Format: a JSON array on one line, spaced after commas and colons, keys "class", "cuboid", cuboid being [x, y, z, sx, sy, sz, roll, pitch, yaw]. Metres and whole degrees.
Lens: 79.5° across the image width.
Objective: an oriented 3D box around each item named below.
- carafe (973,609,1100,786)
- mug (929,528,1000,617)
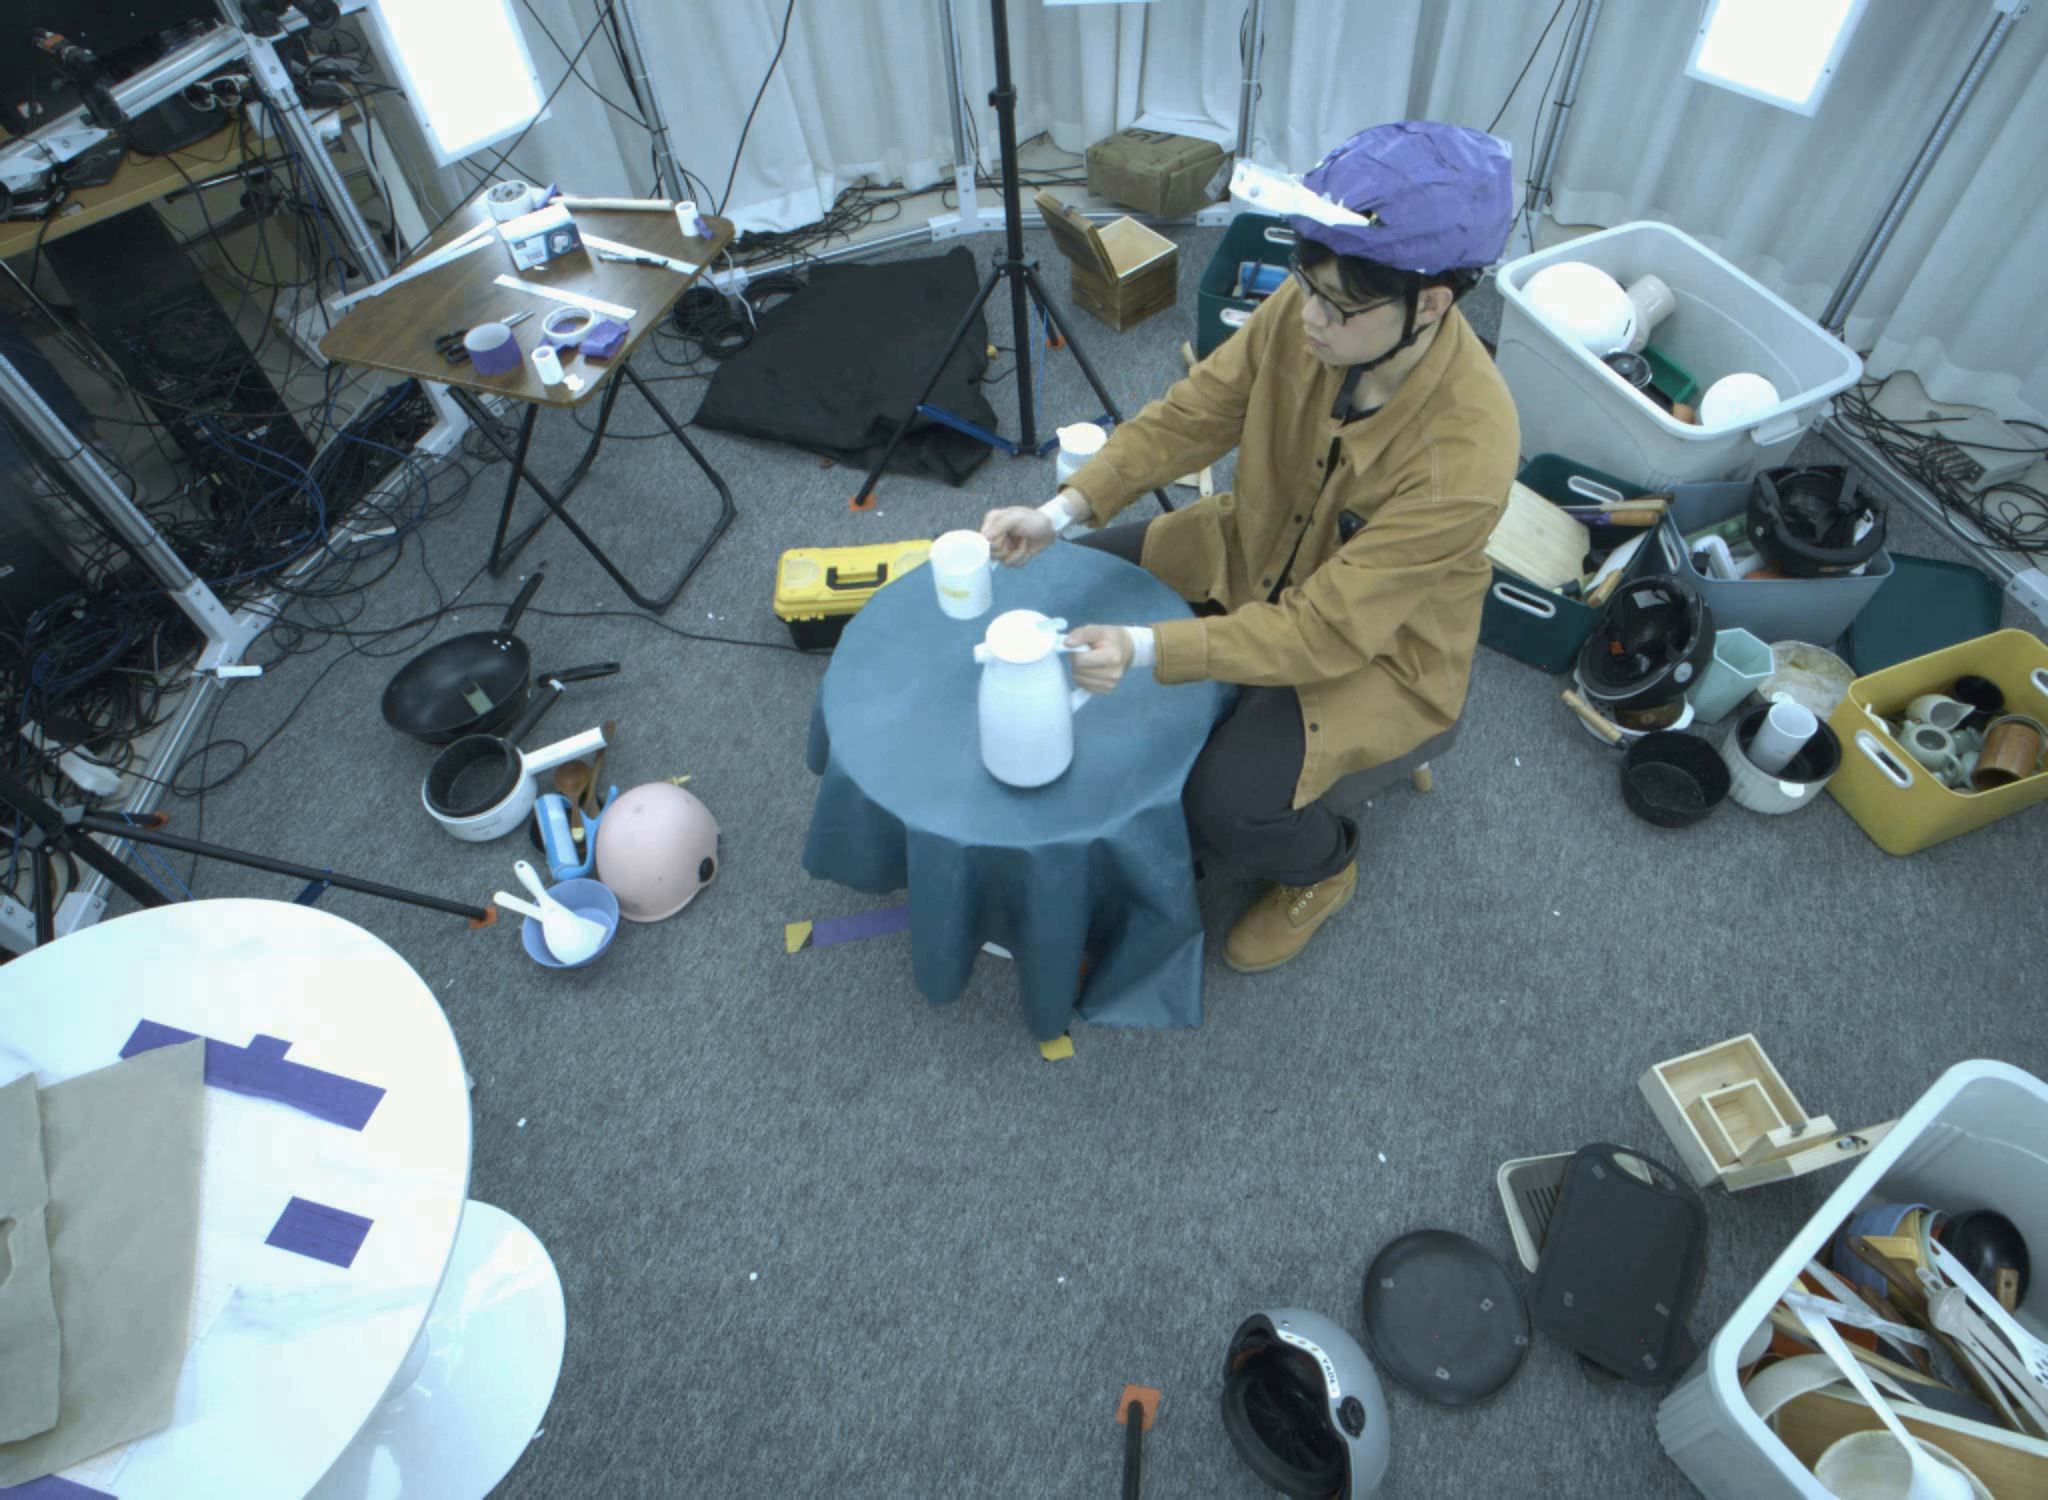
[{"class": "carafe", "cuboid": [0.020, -0.081, 1.661, 0.168, 0.251, 0.130, -13, 53, -8]}, {"class": "mug", "cuboid": [-0.079, -0.264, 1.767, 0.083, 0.103, 0.119, 33, 63, 24]}]
